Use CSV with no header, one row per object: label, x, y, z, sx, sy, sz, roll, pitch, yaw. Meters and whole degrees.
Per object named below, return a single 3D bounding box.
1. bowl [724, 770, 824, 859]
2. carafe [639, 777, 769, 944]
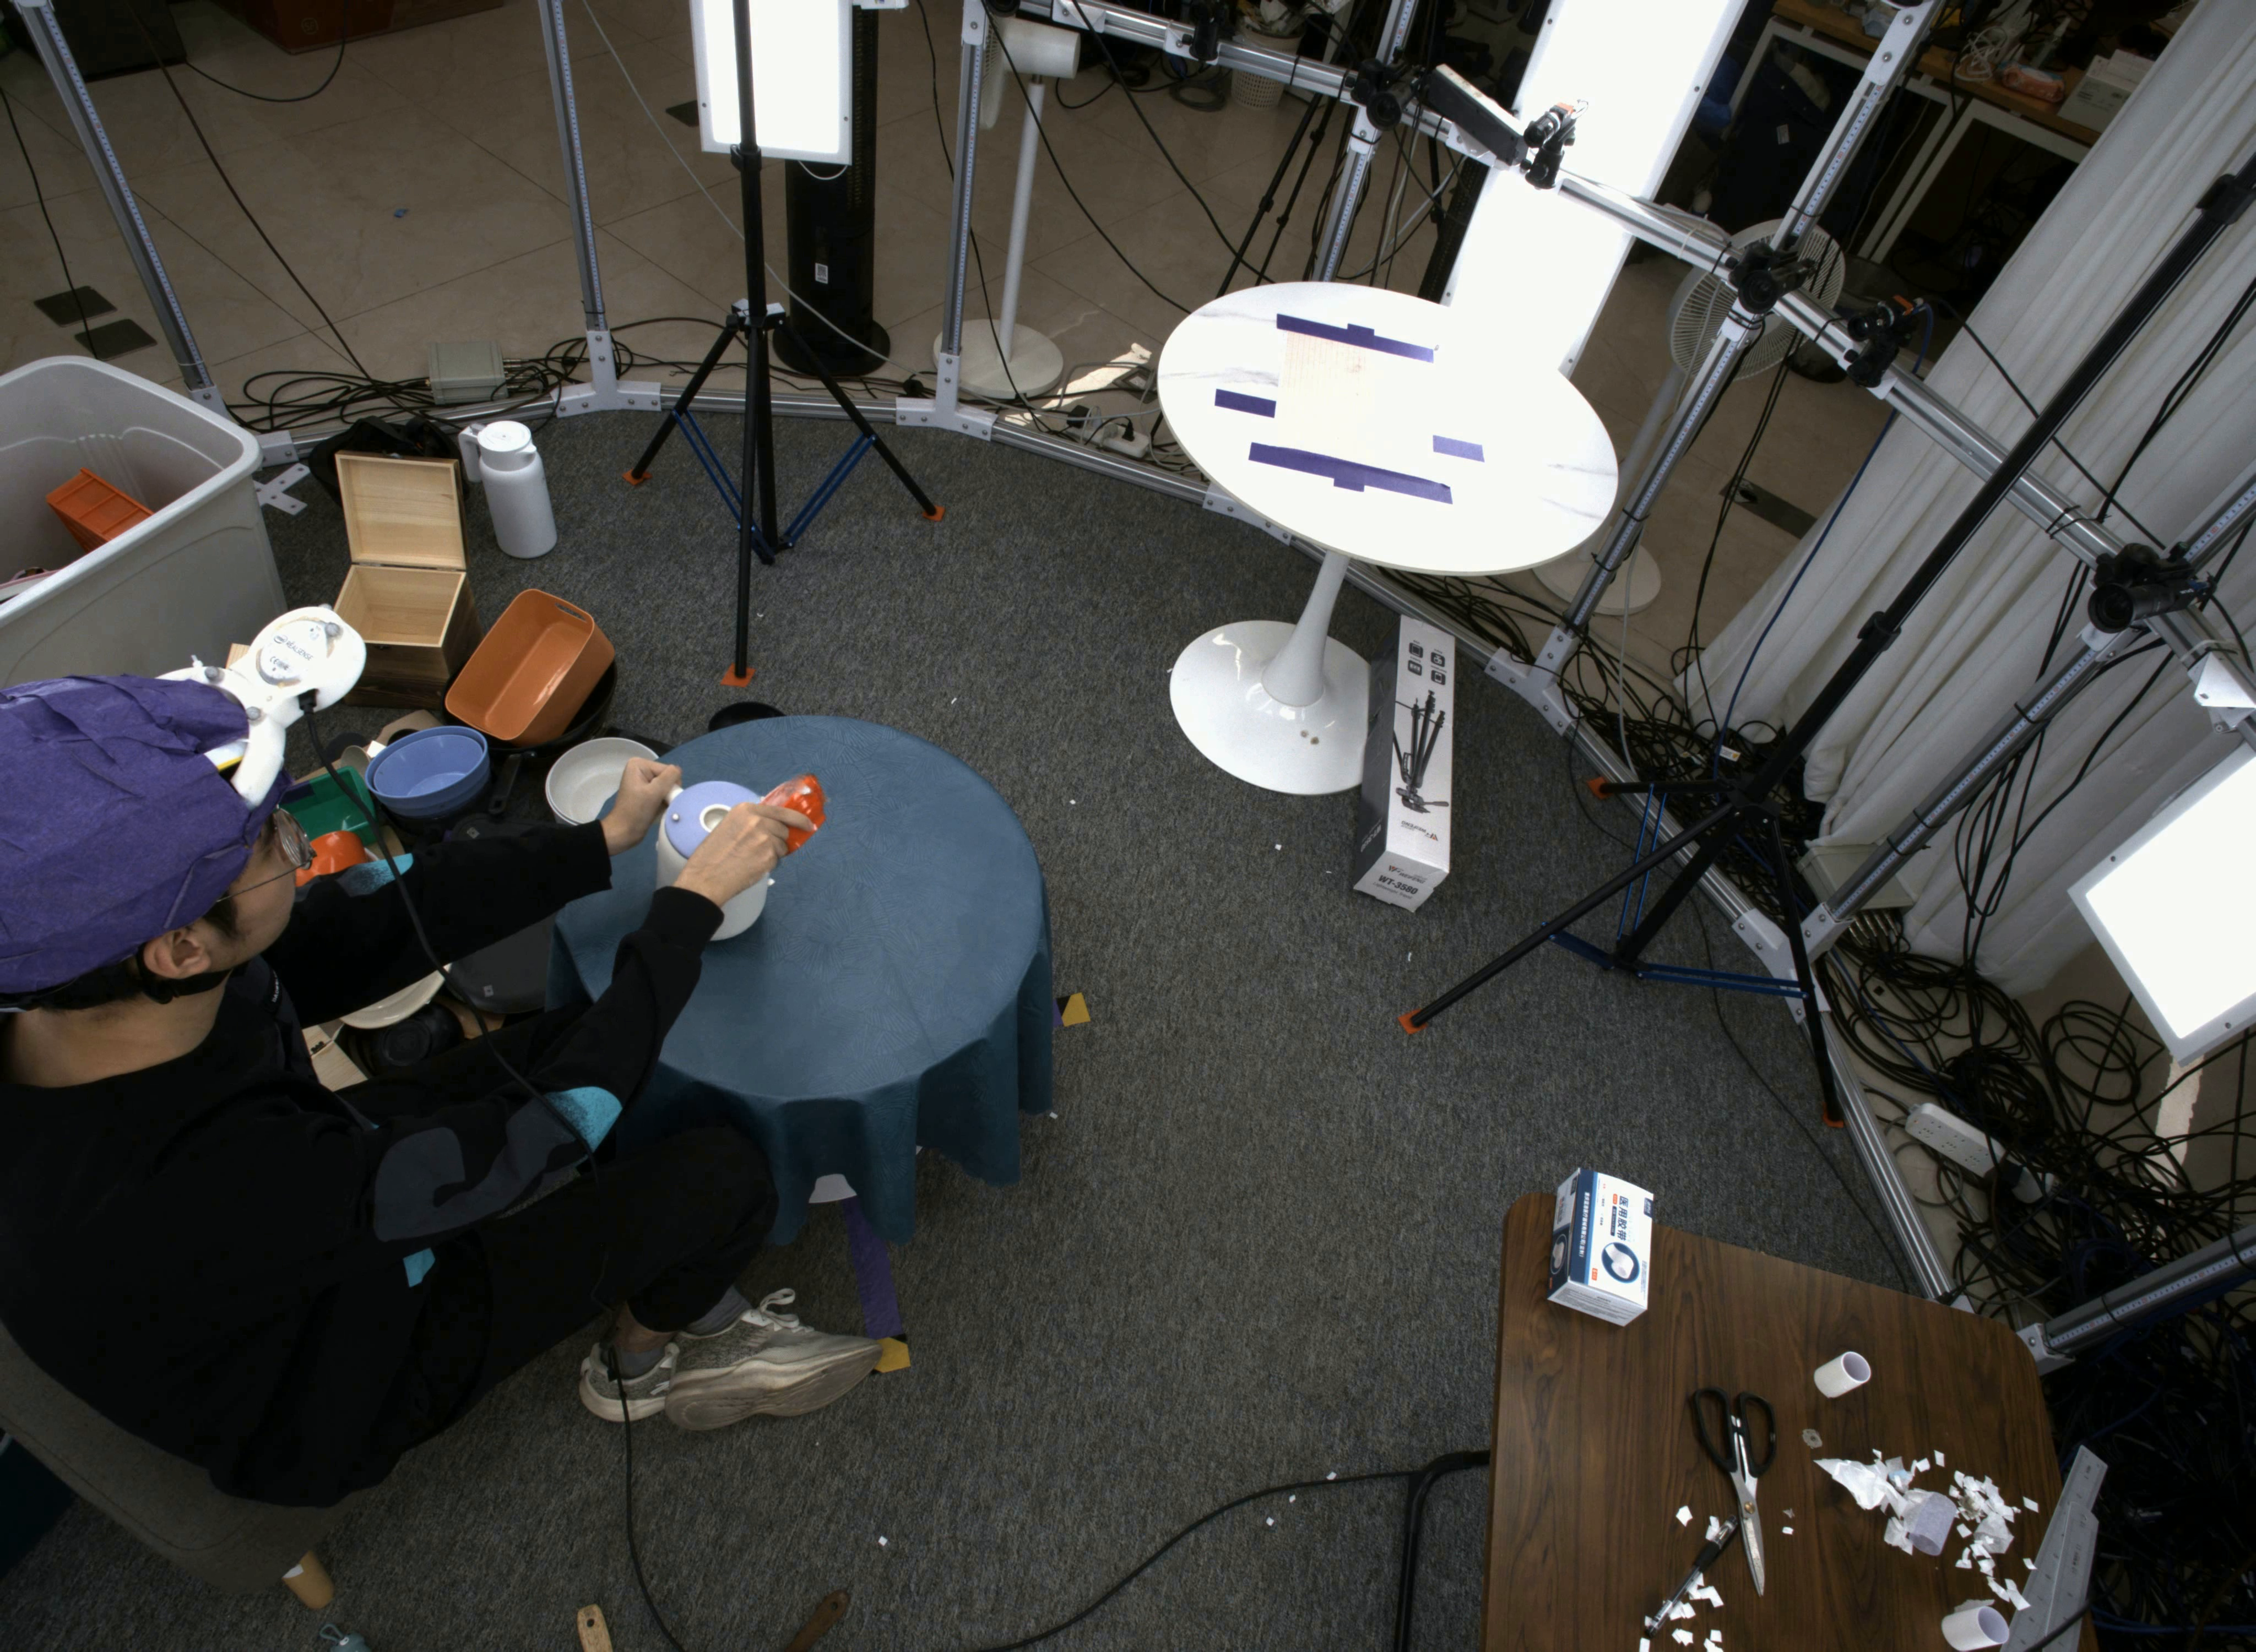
bowl,-0.377,-0.006,1.410,0.053,0.116,0.118,56,49,-22
carafe,-0.514,0.026,1.541,0.188,0.185,0.132,37,51,9
